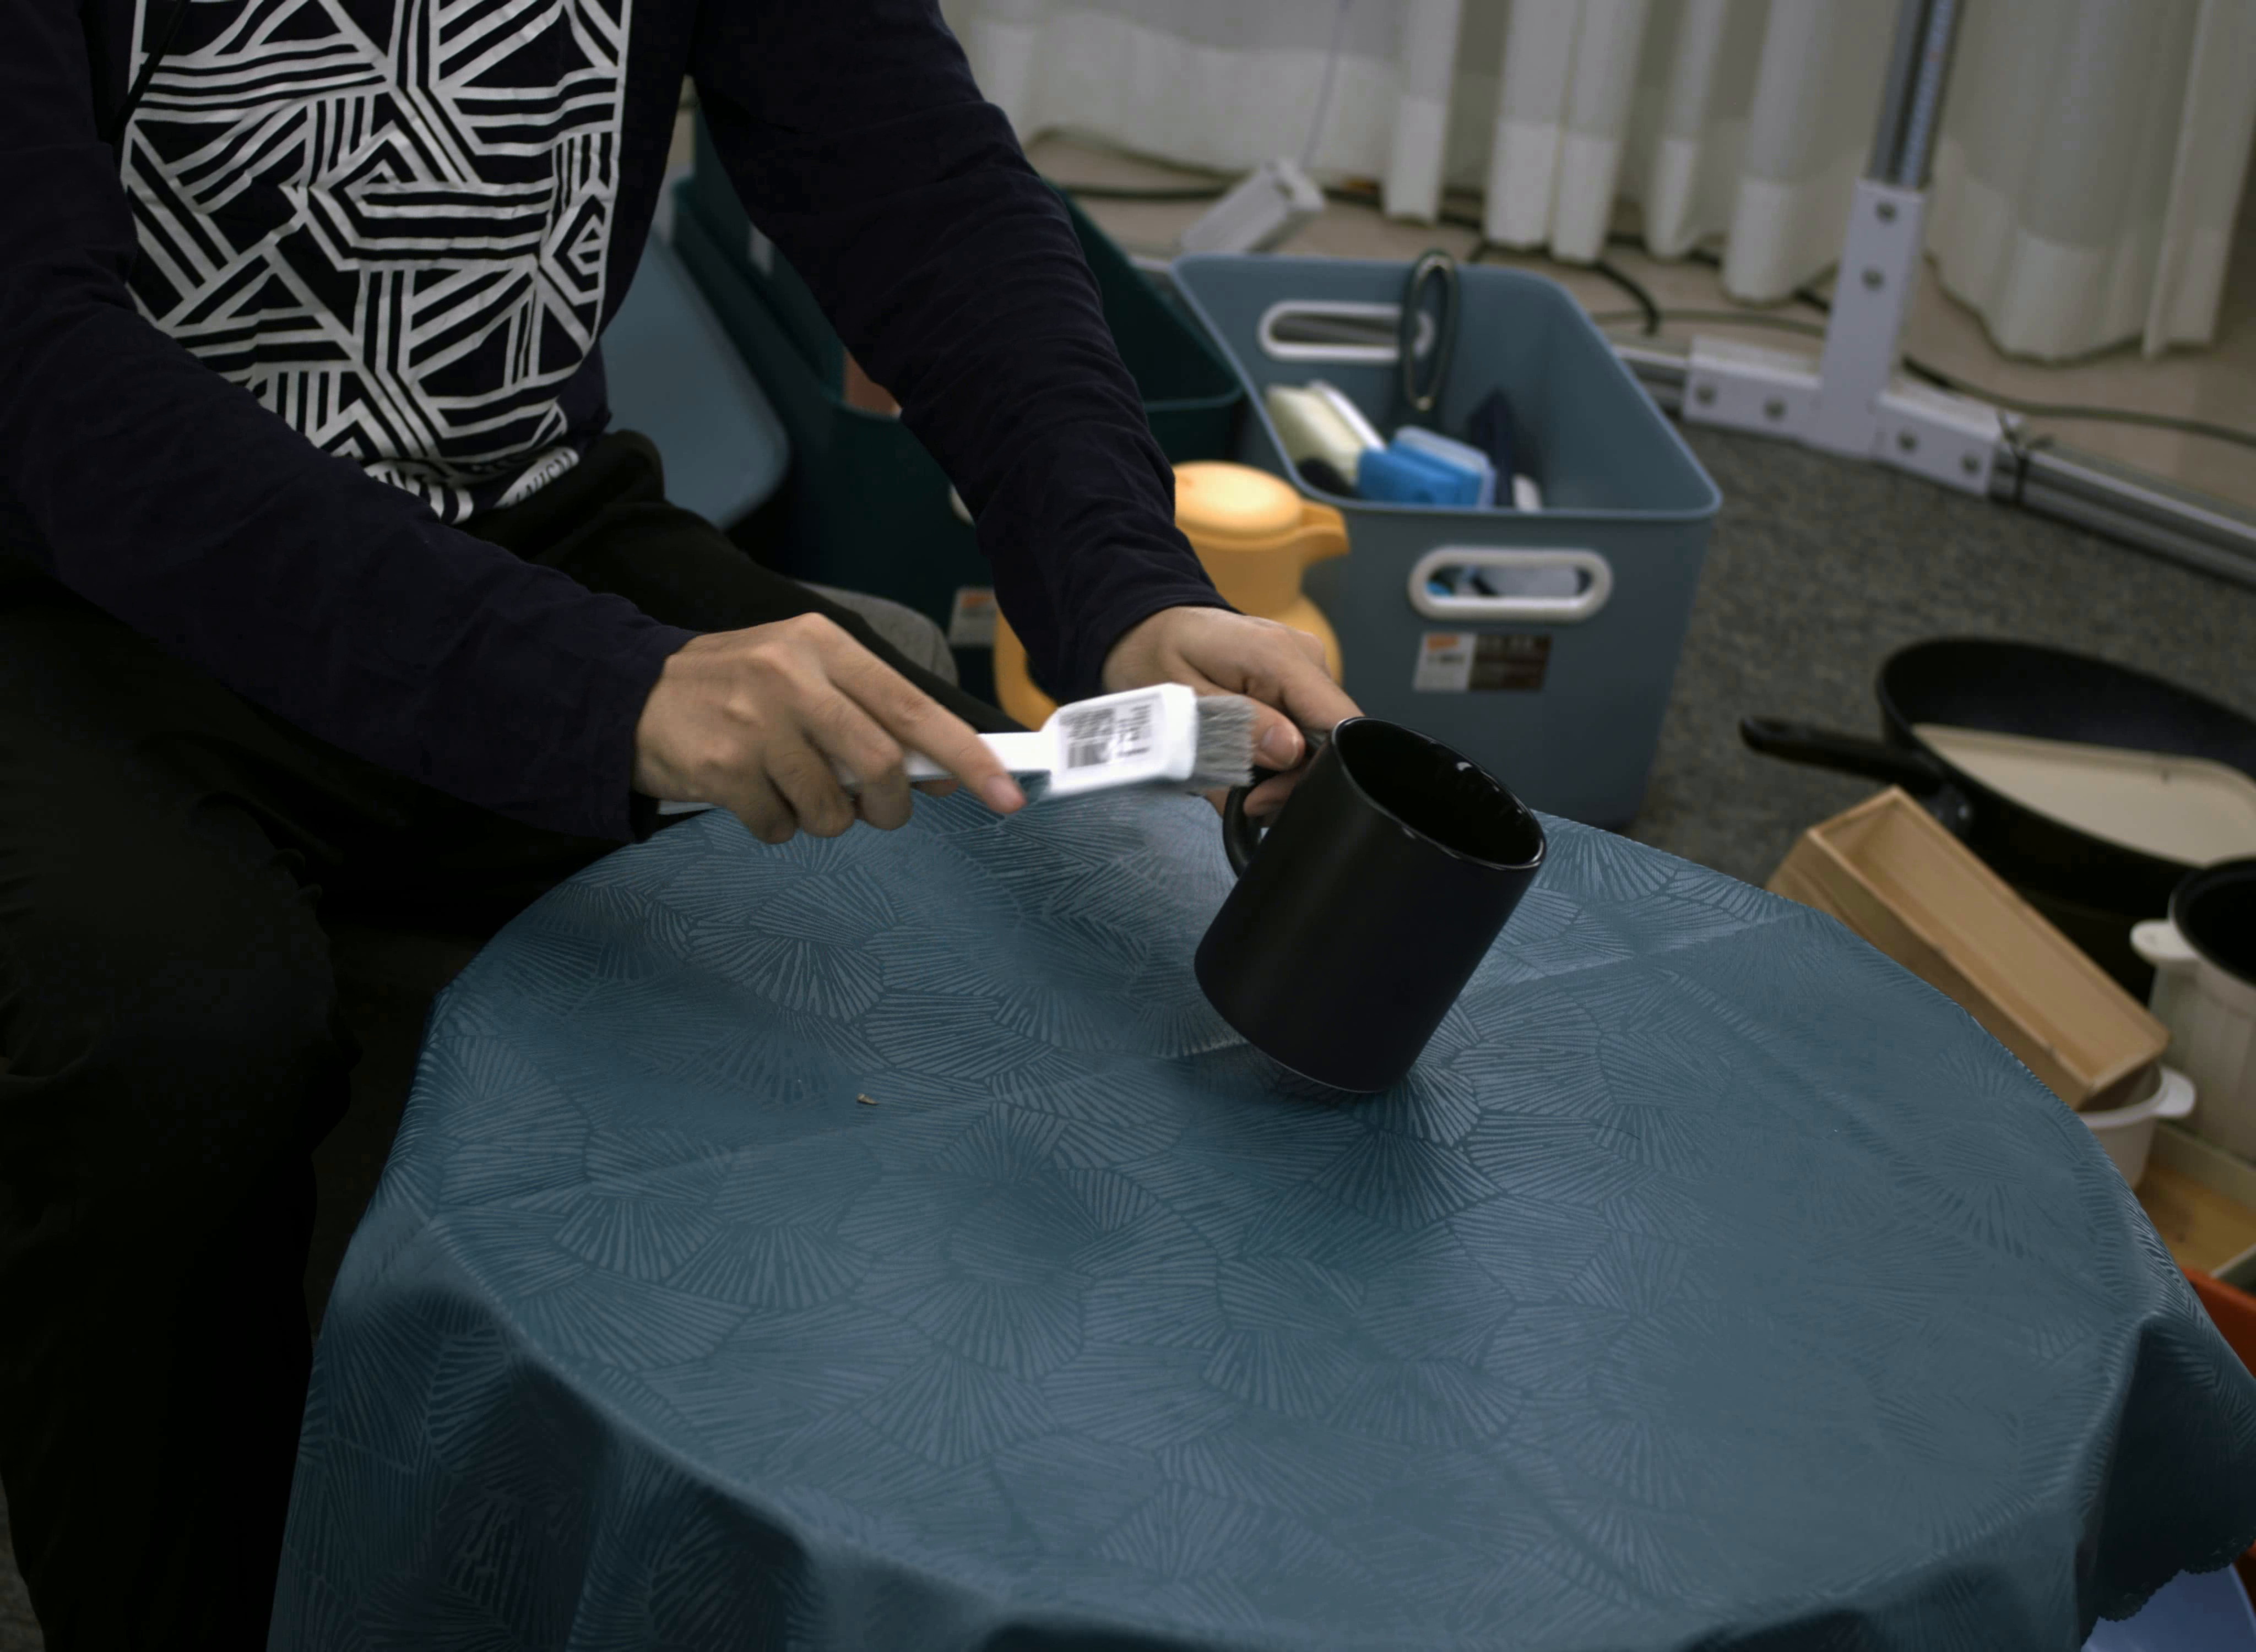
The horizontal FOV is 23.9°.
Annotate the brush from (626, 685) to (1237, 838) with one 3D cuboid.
[{"bbox_3d":[-0.068,-0.018,1.860,0.244,0.034,0.050,-8,-9,33],"label":"brush"}]

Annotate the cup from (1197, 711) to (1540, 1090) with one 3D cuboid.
[{"bbox_3d":[0.076,0.016,1.887,0.088,0.105,0.125,4,33,-39],"label":"cup"}]
